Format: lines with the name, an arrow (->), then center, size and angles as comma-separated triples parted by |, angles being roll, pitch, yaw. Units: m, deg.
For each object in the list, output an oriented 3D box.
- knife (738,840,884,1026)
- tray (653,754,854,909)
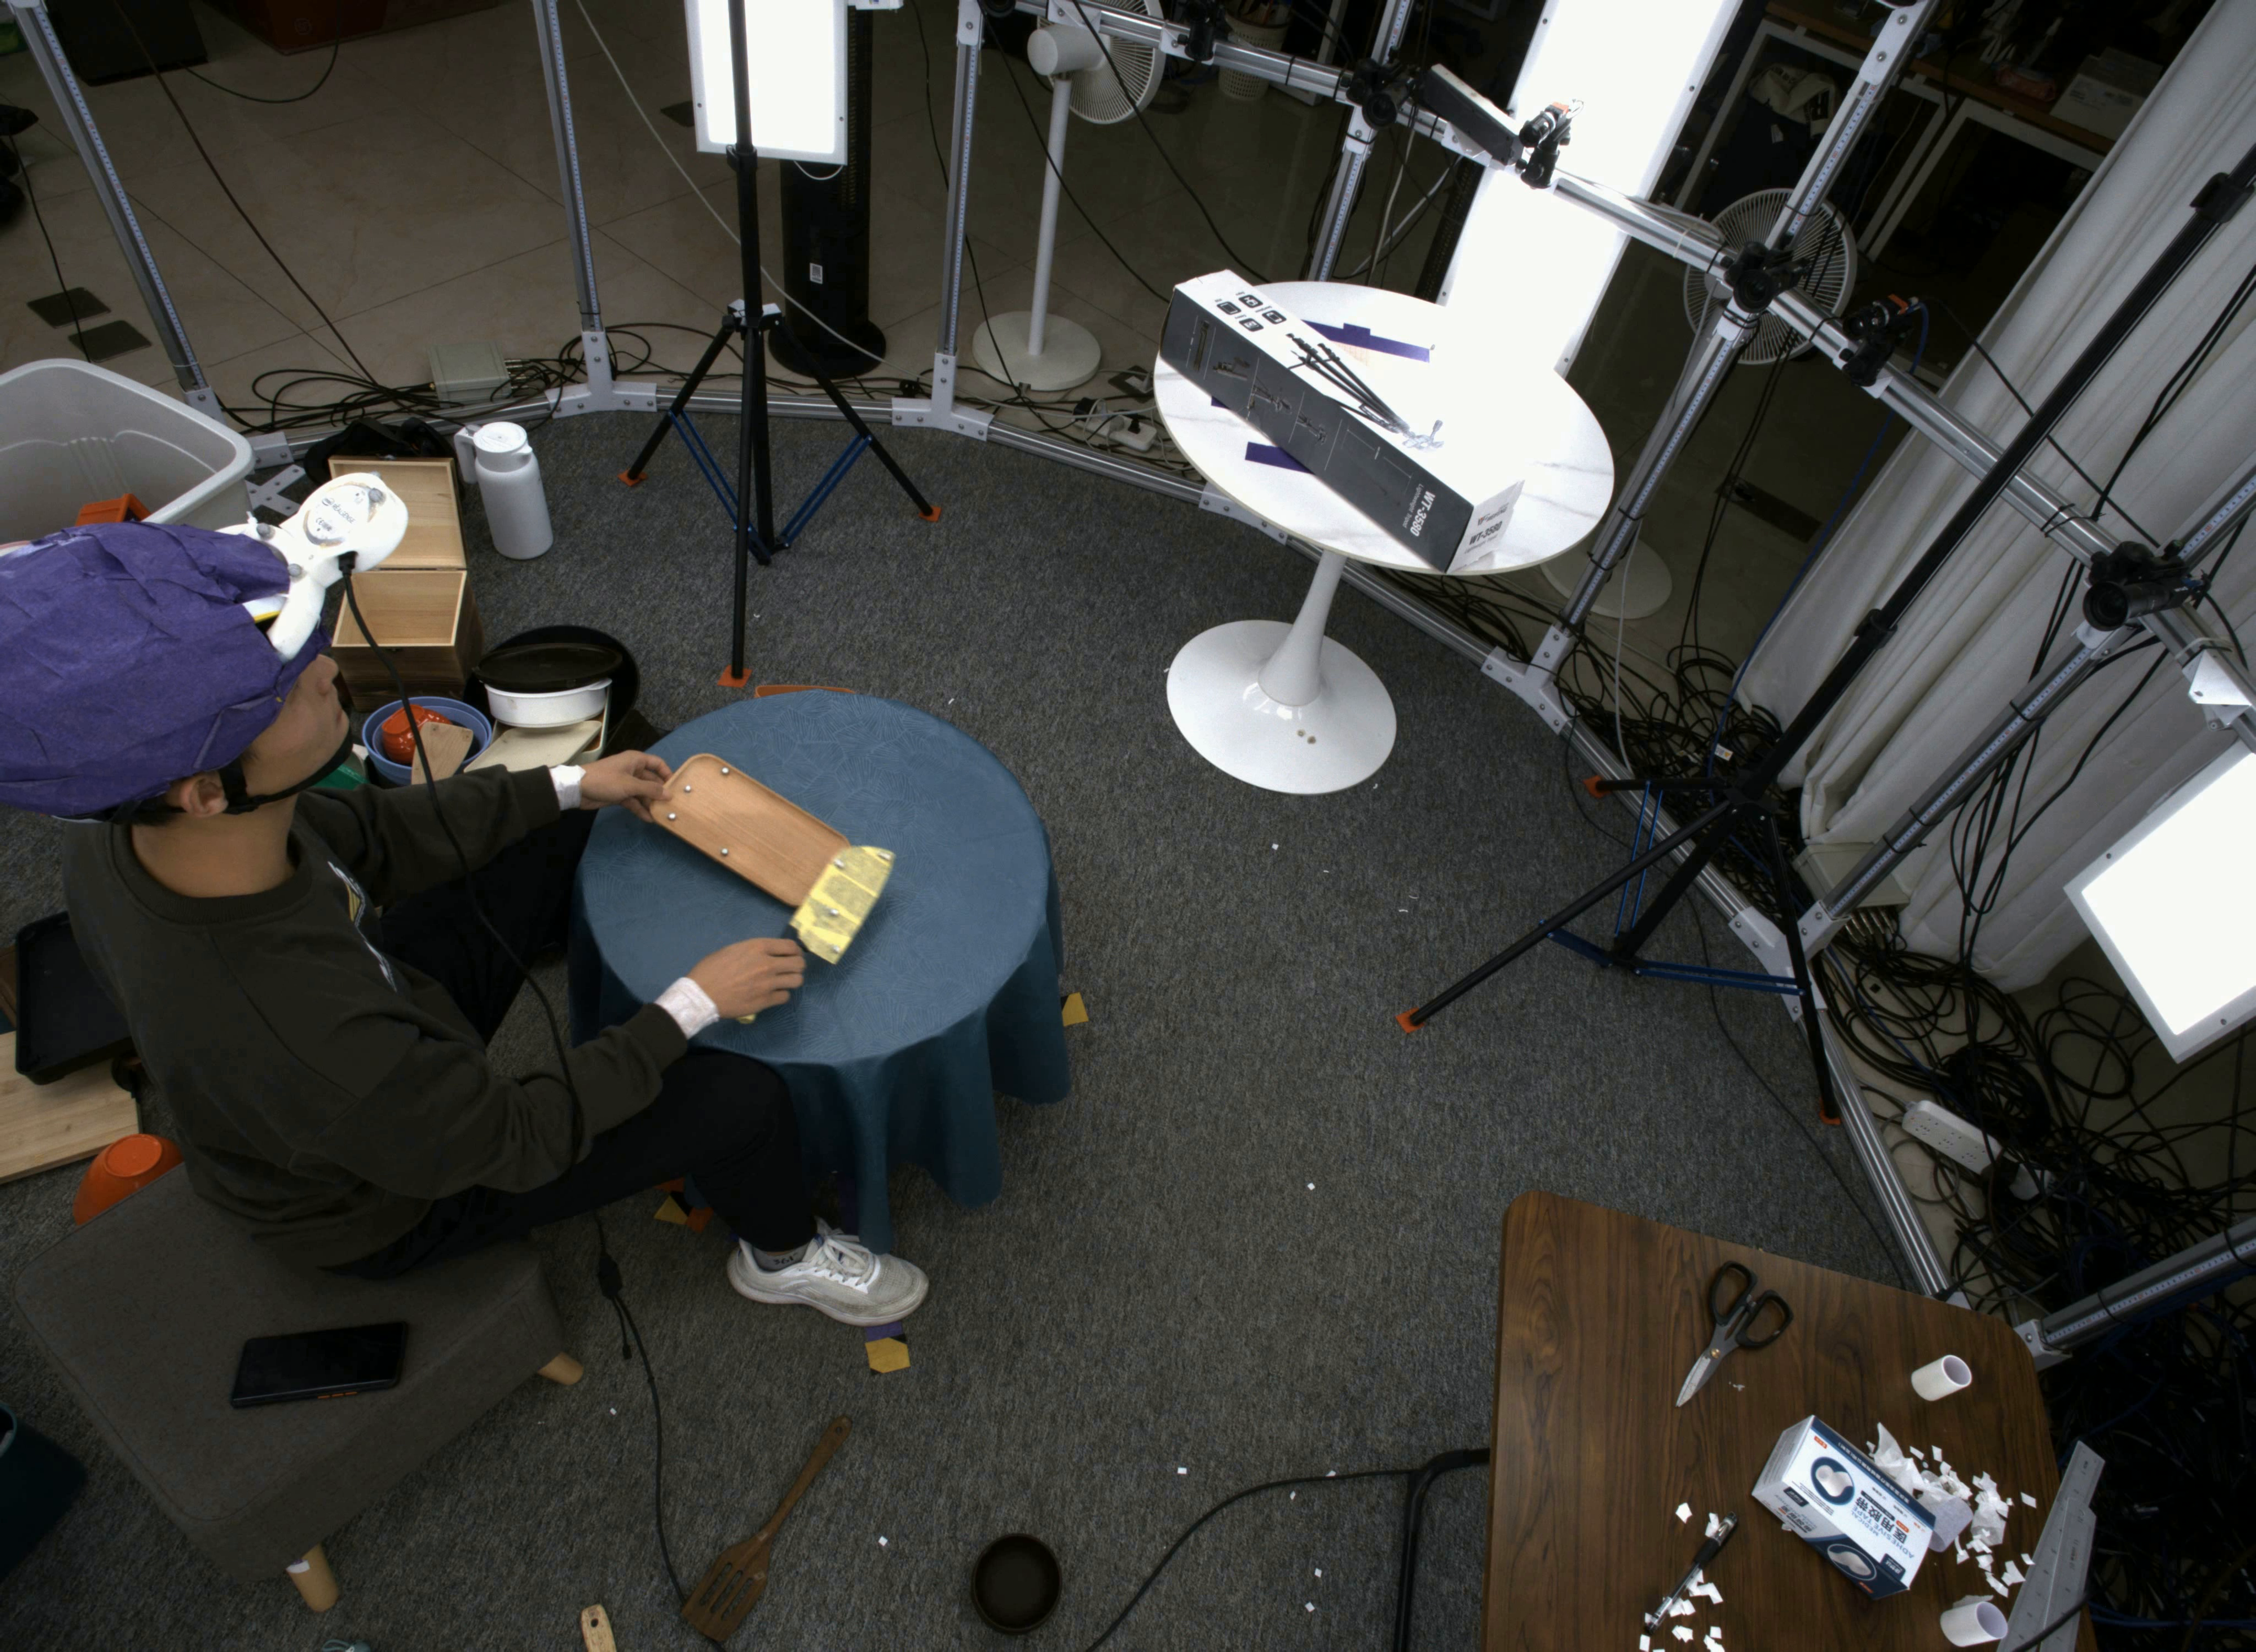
knife -> -0.382, 0.127, 1.585 | 0.082, 0.027, 0.288 | 36, 58, -11
tray -> -0.486, 0.005, 1.680 | 0.250, 0.023, 0.130 | 32, 56, -2
